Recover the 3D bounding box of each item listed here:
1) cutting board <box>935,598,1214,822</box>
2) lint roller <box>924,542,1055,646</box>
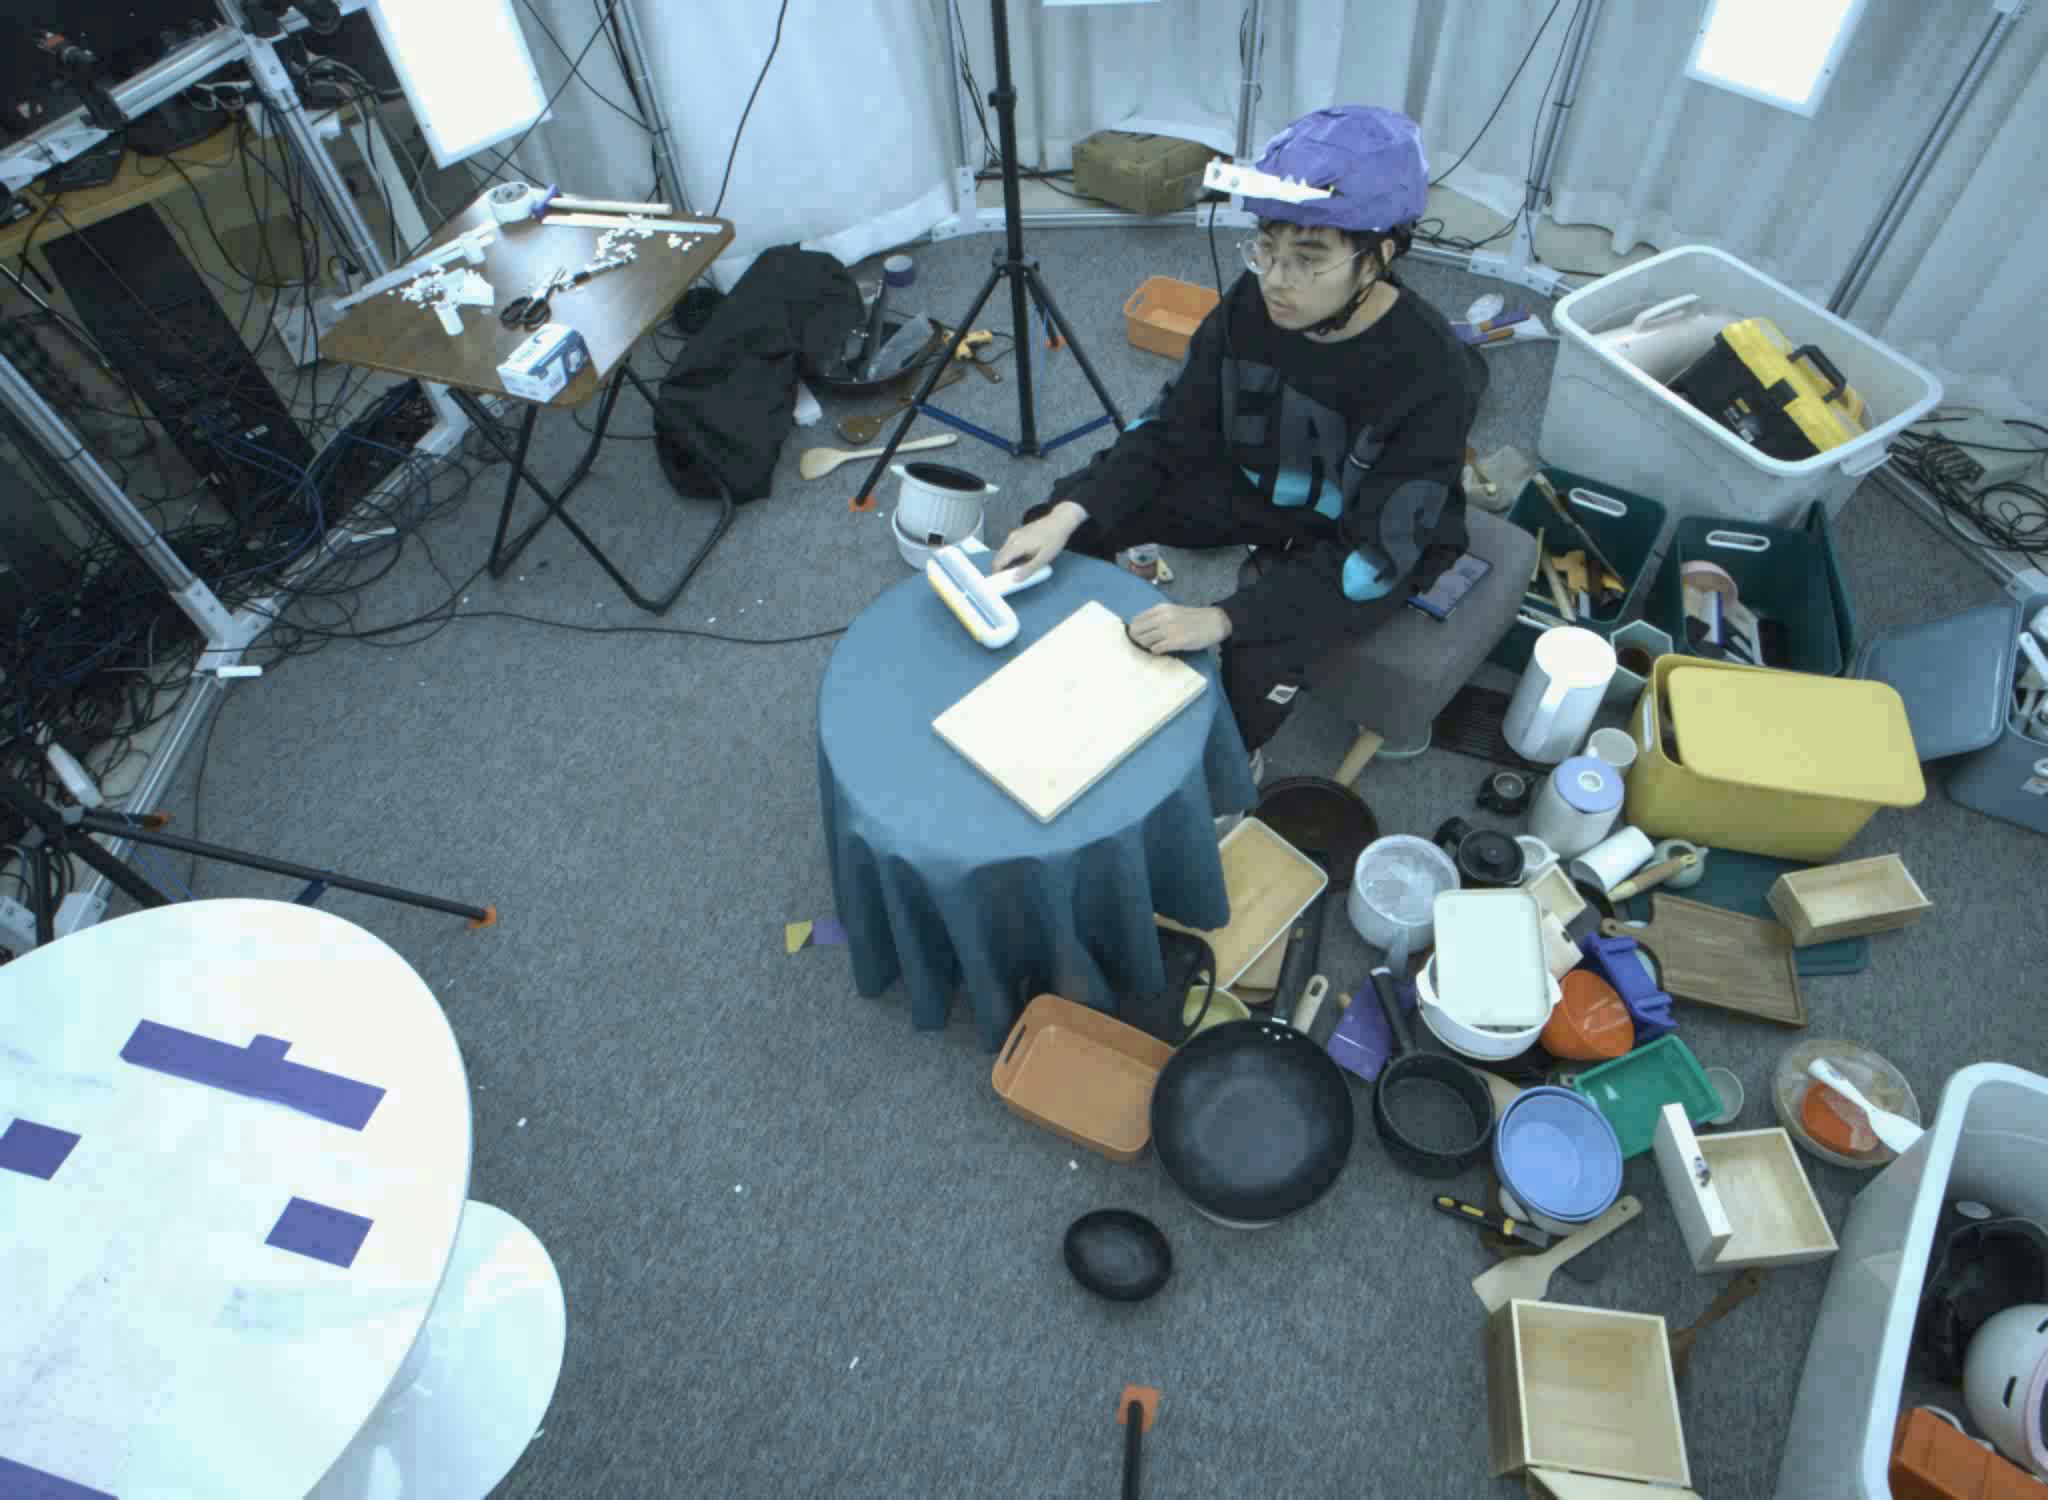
[{"bbox_3d":[0.073,-0.069,1.820,0.351,0.024,0.246,-40,63,-23],"label":"cutting board"},{"bbox_3d":[-0.037,-0.264,1.930,0.194,0.075,0.189,-28,64,-18],"label":"lint roller"}]
